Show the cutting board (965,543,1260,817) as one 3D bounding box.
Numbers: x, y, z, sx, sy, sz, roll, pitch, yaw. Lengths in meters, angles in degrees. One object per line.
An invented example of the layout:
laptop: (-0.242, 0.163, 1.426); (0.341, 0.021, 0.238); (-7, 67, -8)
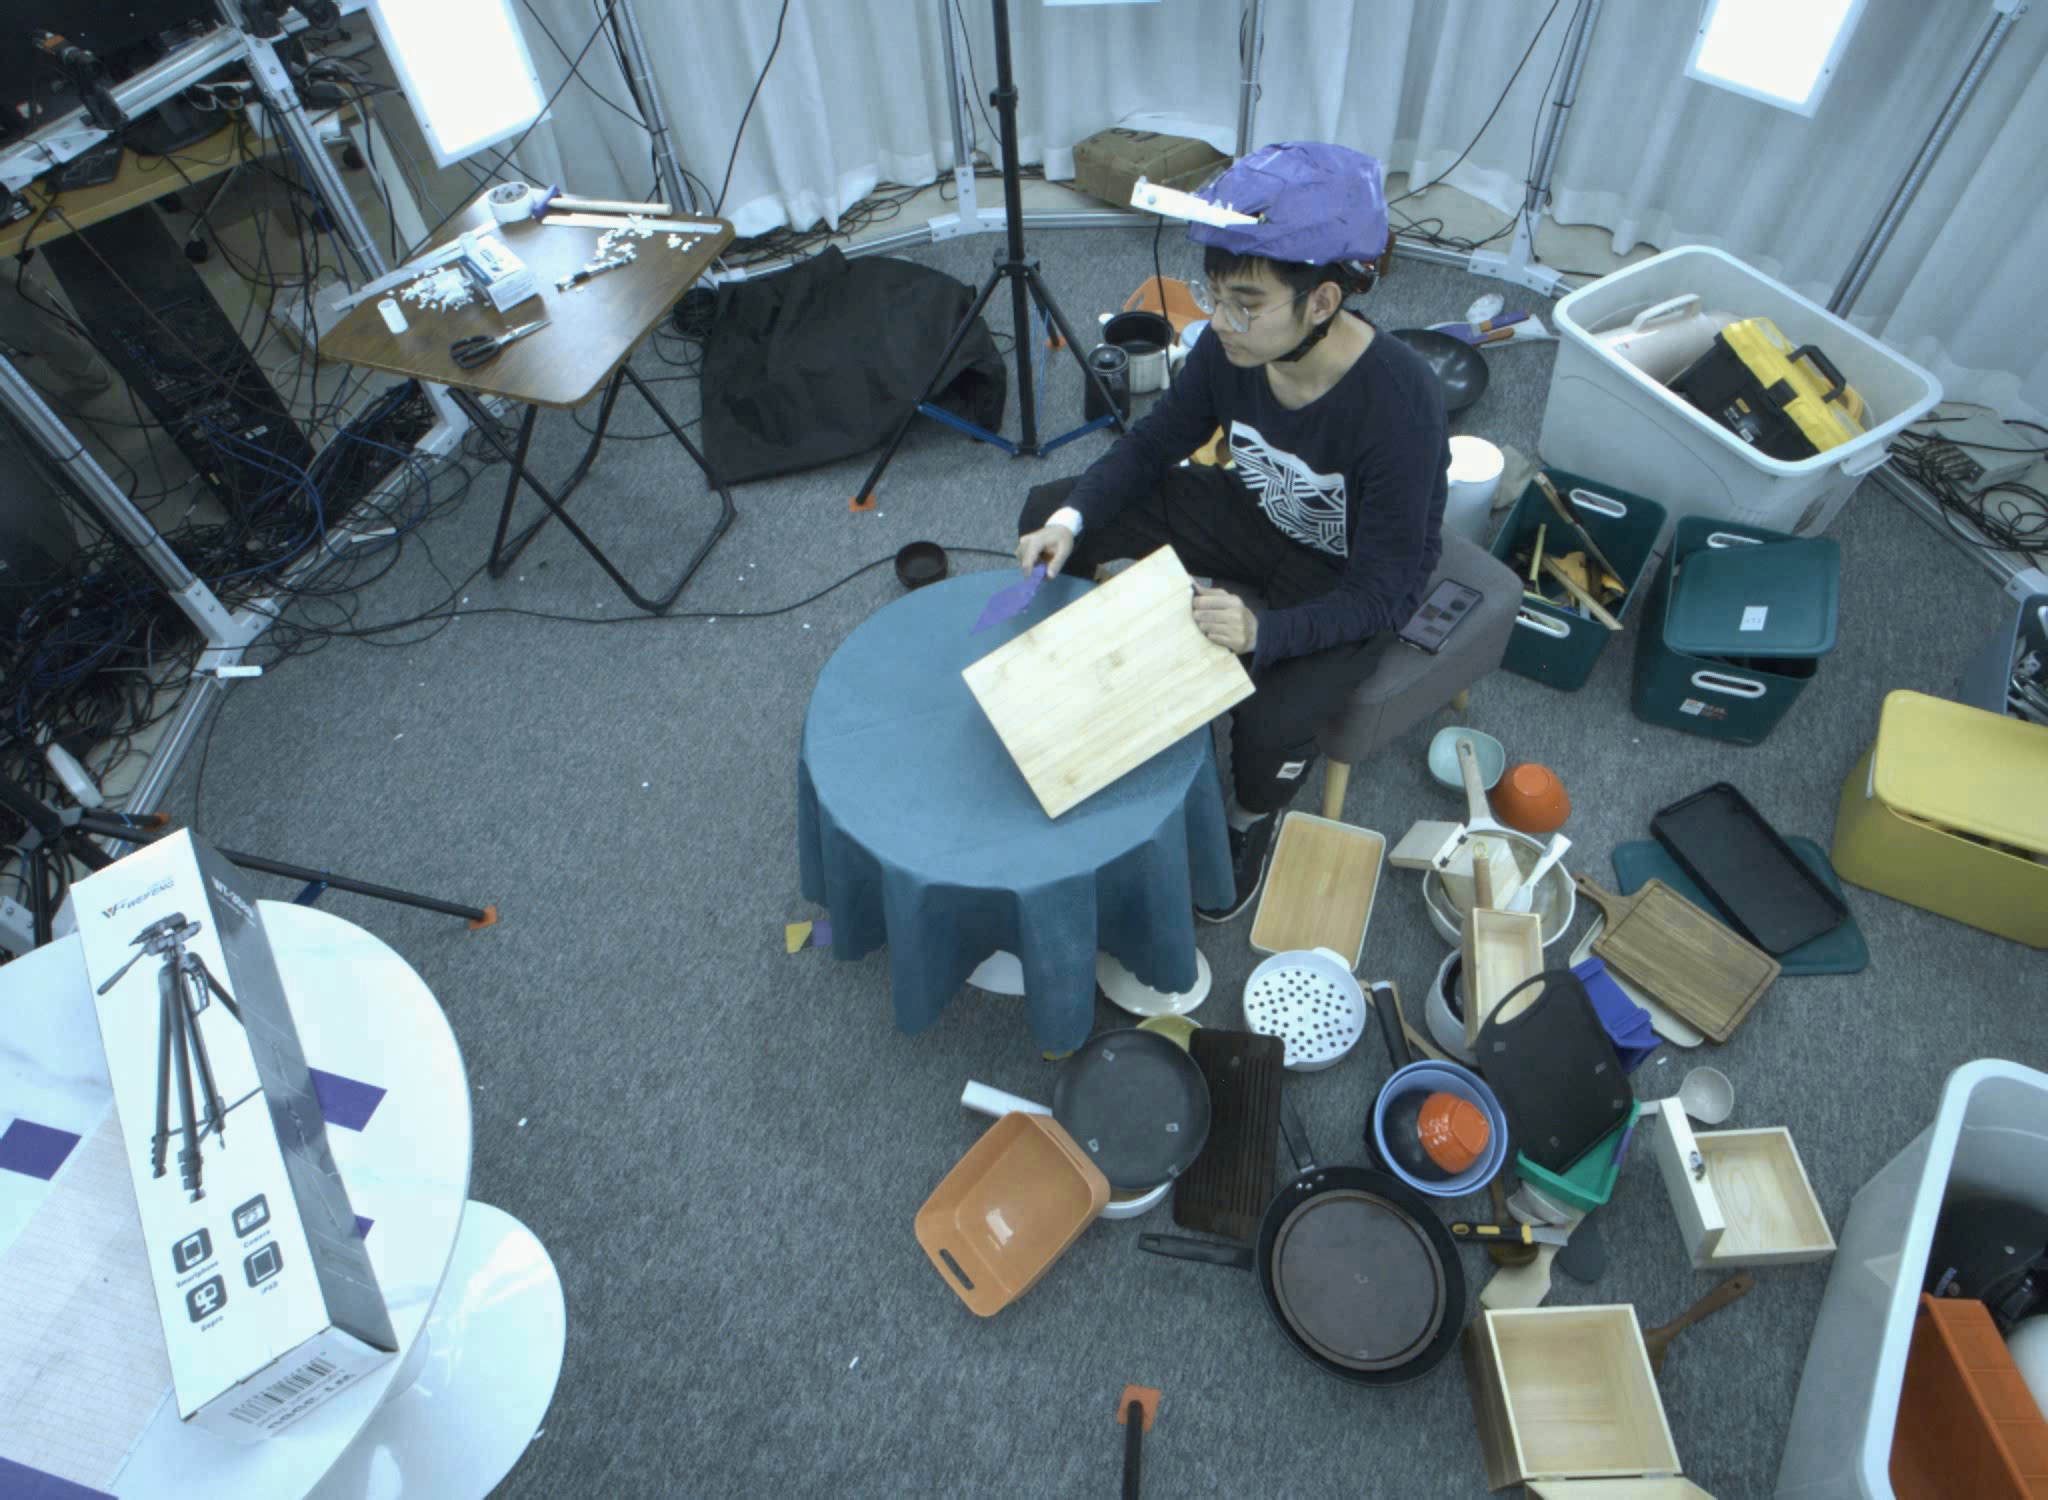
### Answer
cutting board: (0.123, -0.098, 1.718); (0.349, 0.023, 0.252); (-33, 98, -5)

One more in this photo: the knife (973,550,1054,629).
knife: (-0.016, -0.238, 1.798); (0.103, 0.032, 0.314); (-21, 16, 16)
